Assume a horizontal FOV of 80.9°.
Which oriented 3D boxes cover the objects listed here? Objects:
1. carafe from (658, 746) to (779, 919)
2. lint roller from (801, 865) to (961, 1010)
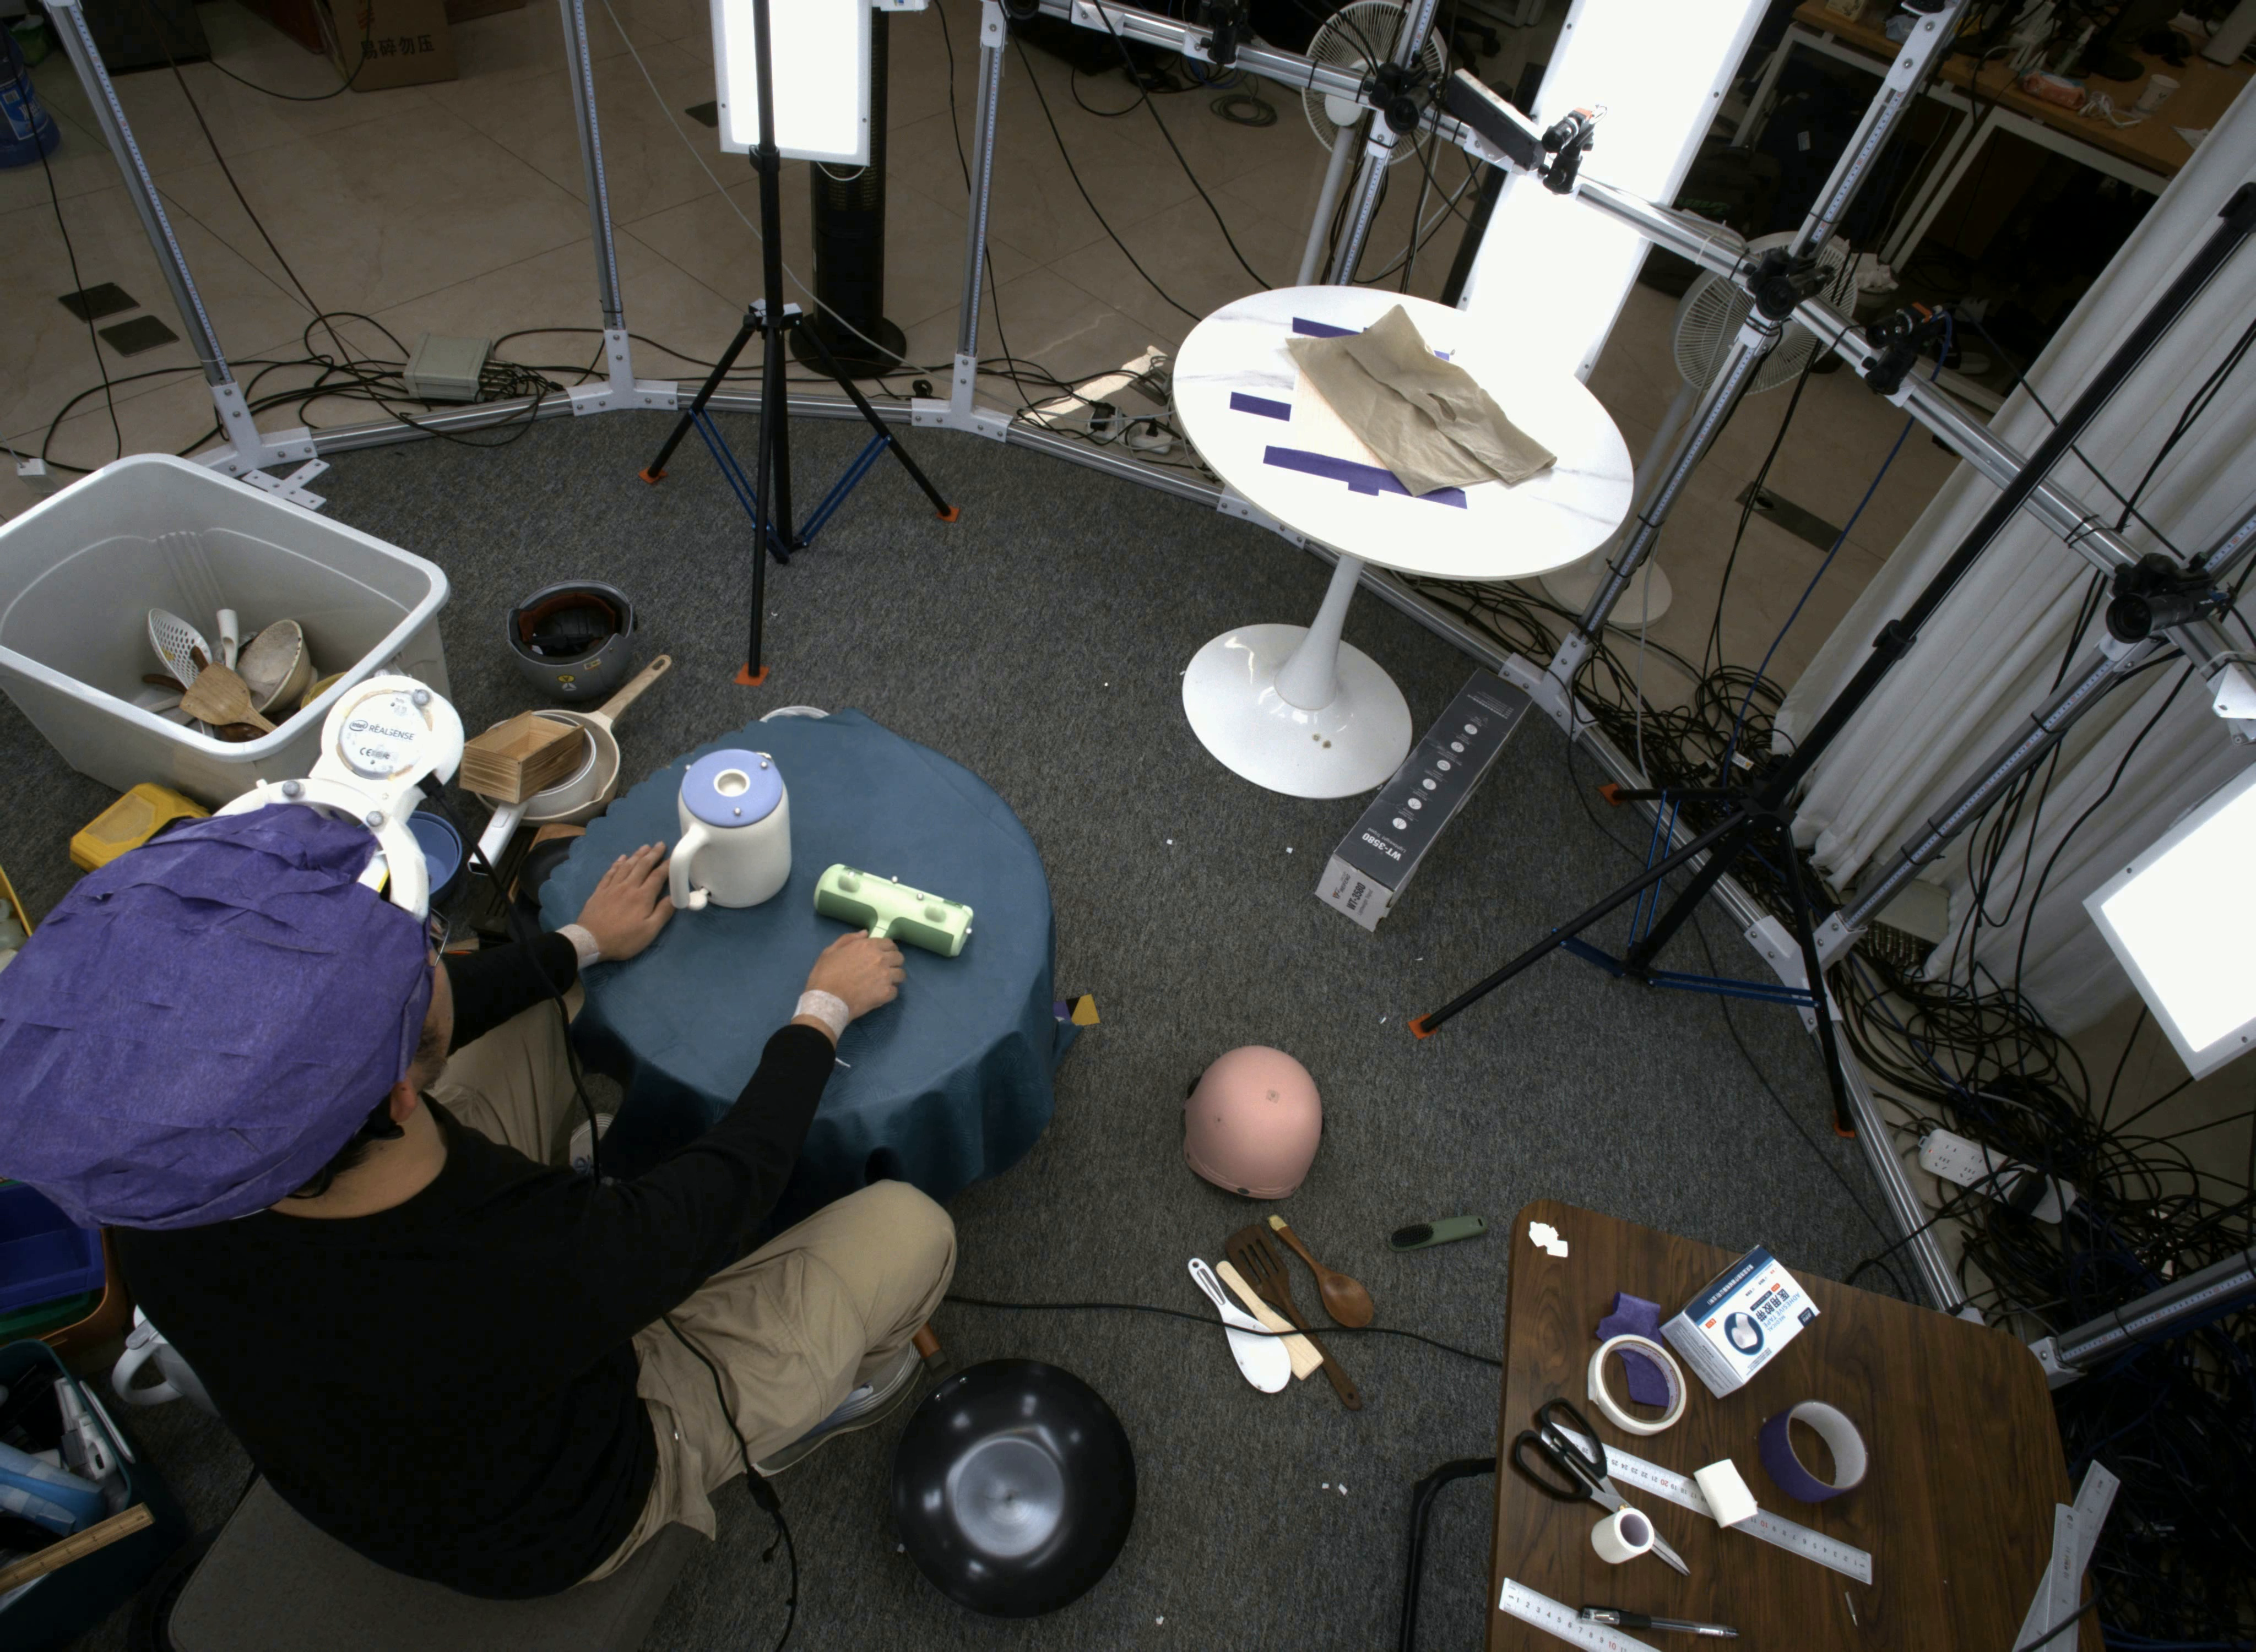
[{"bbox_3d":[-0.510,0.020,1.570,0.130,0.186,0.190,25,53,8],"label":"carafe"},{"bbox_3d":[-0.323,0.134,1.590,0.196,0.084,0.181,17,43,2],"label":"lint roller"}]
